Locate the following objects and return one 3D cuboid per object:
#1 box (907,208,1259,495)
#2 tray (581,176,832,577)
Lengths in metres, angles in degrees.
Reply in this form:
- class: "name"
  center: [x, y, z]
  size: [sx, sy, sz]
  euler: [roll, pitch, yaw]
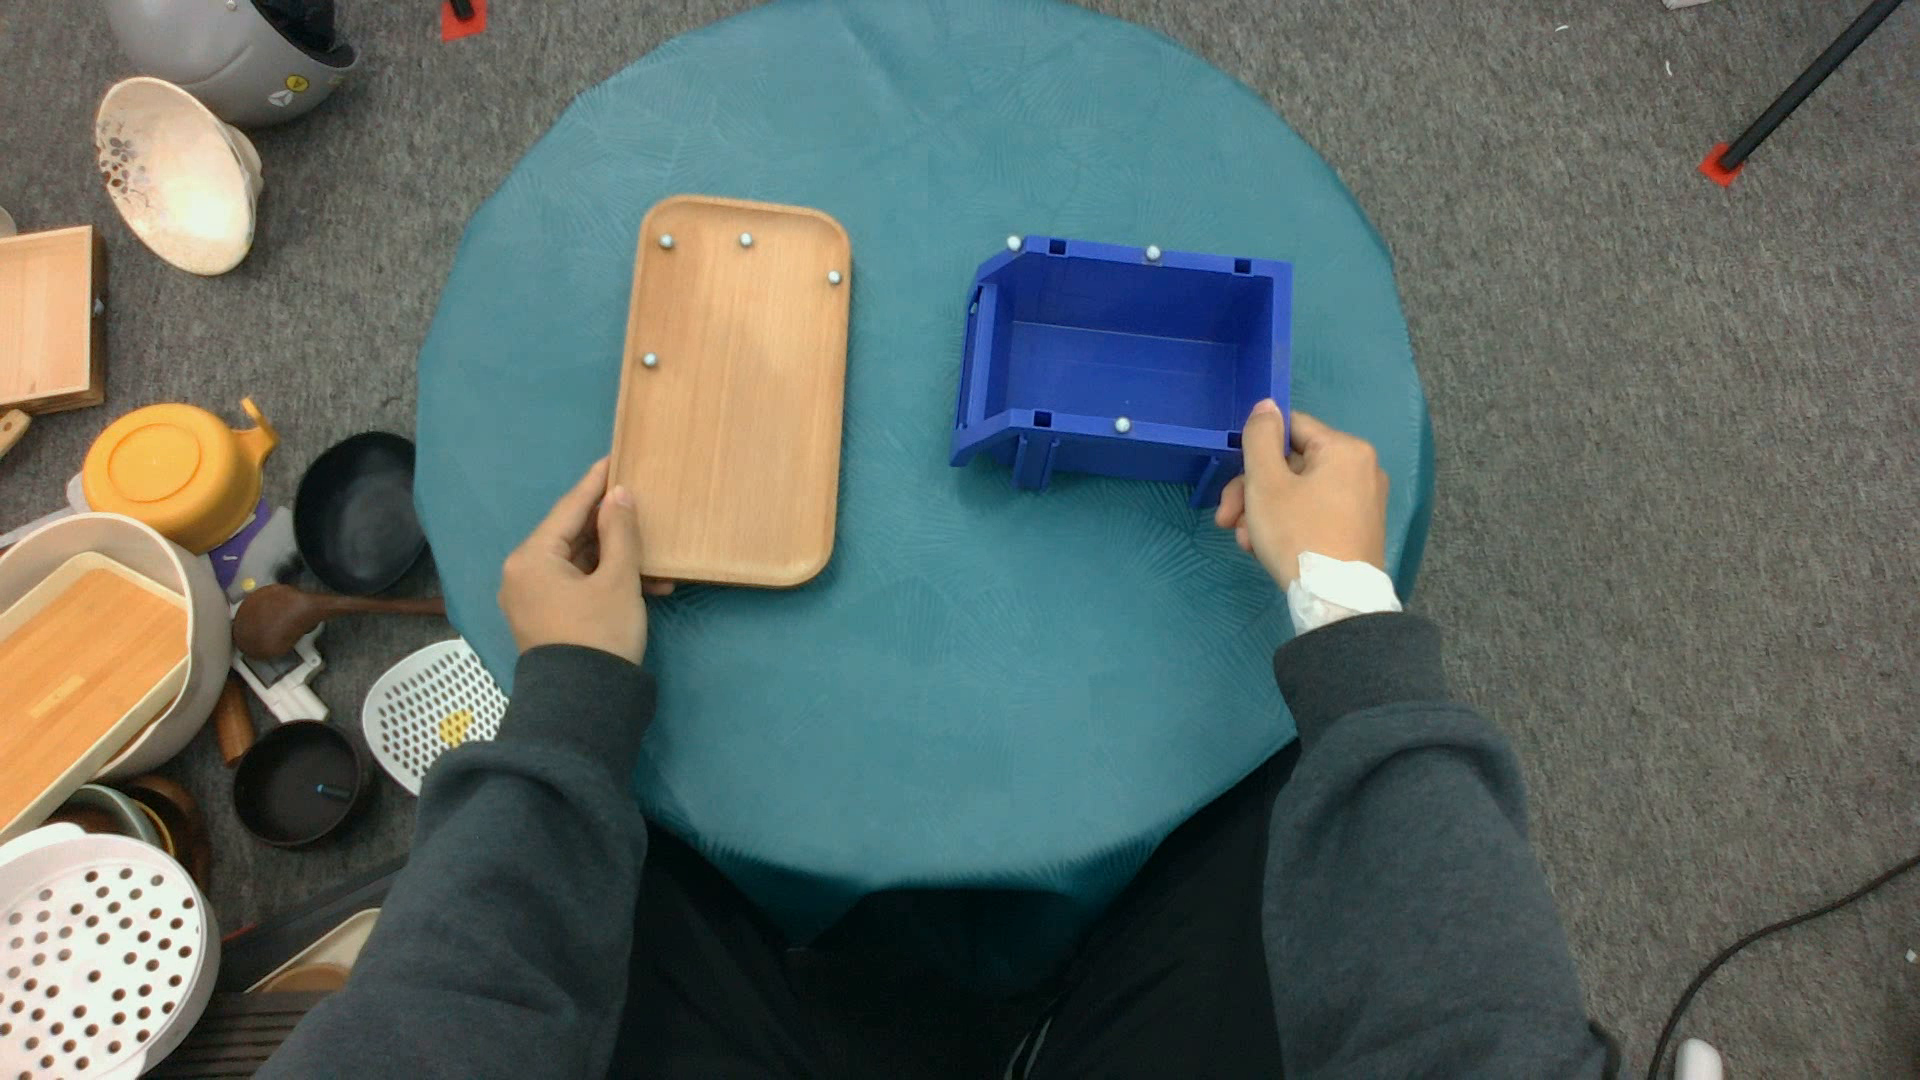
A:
- class: "box"
  center: [0.068, -0.105, 0.783]
  size: [0.179, 0.081, 0.125]
  euler: [9, 70, -4]
- class: "tray"
  center: [-0.143, -0.098, 0.799]
  size: [0.130, 0.023, 0.251]
  euler: [4, 69, -8]
